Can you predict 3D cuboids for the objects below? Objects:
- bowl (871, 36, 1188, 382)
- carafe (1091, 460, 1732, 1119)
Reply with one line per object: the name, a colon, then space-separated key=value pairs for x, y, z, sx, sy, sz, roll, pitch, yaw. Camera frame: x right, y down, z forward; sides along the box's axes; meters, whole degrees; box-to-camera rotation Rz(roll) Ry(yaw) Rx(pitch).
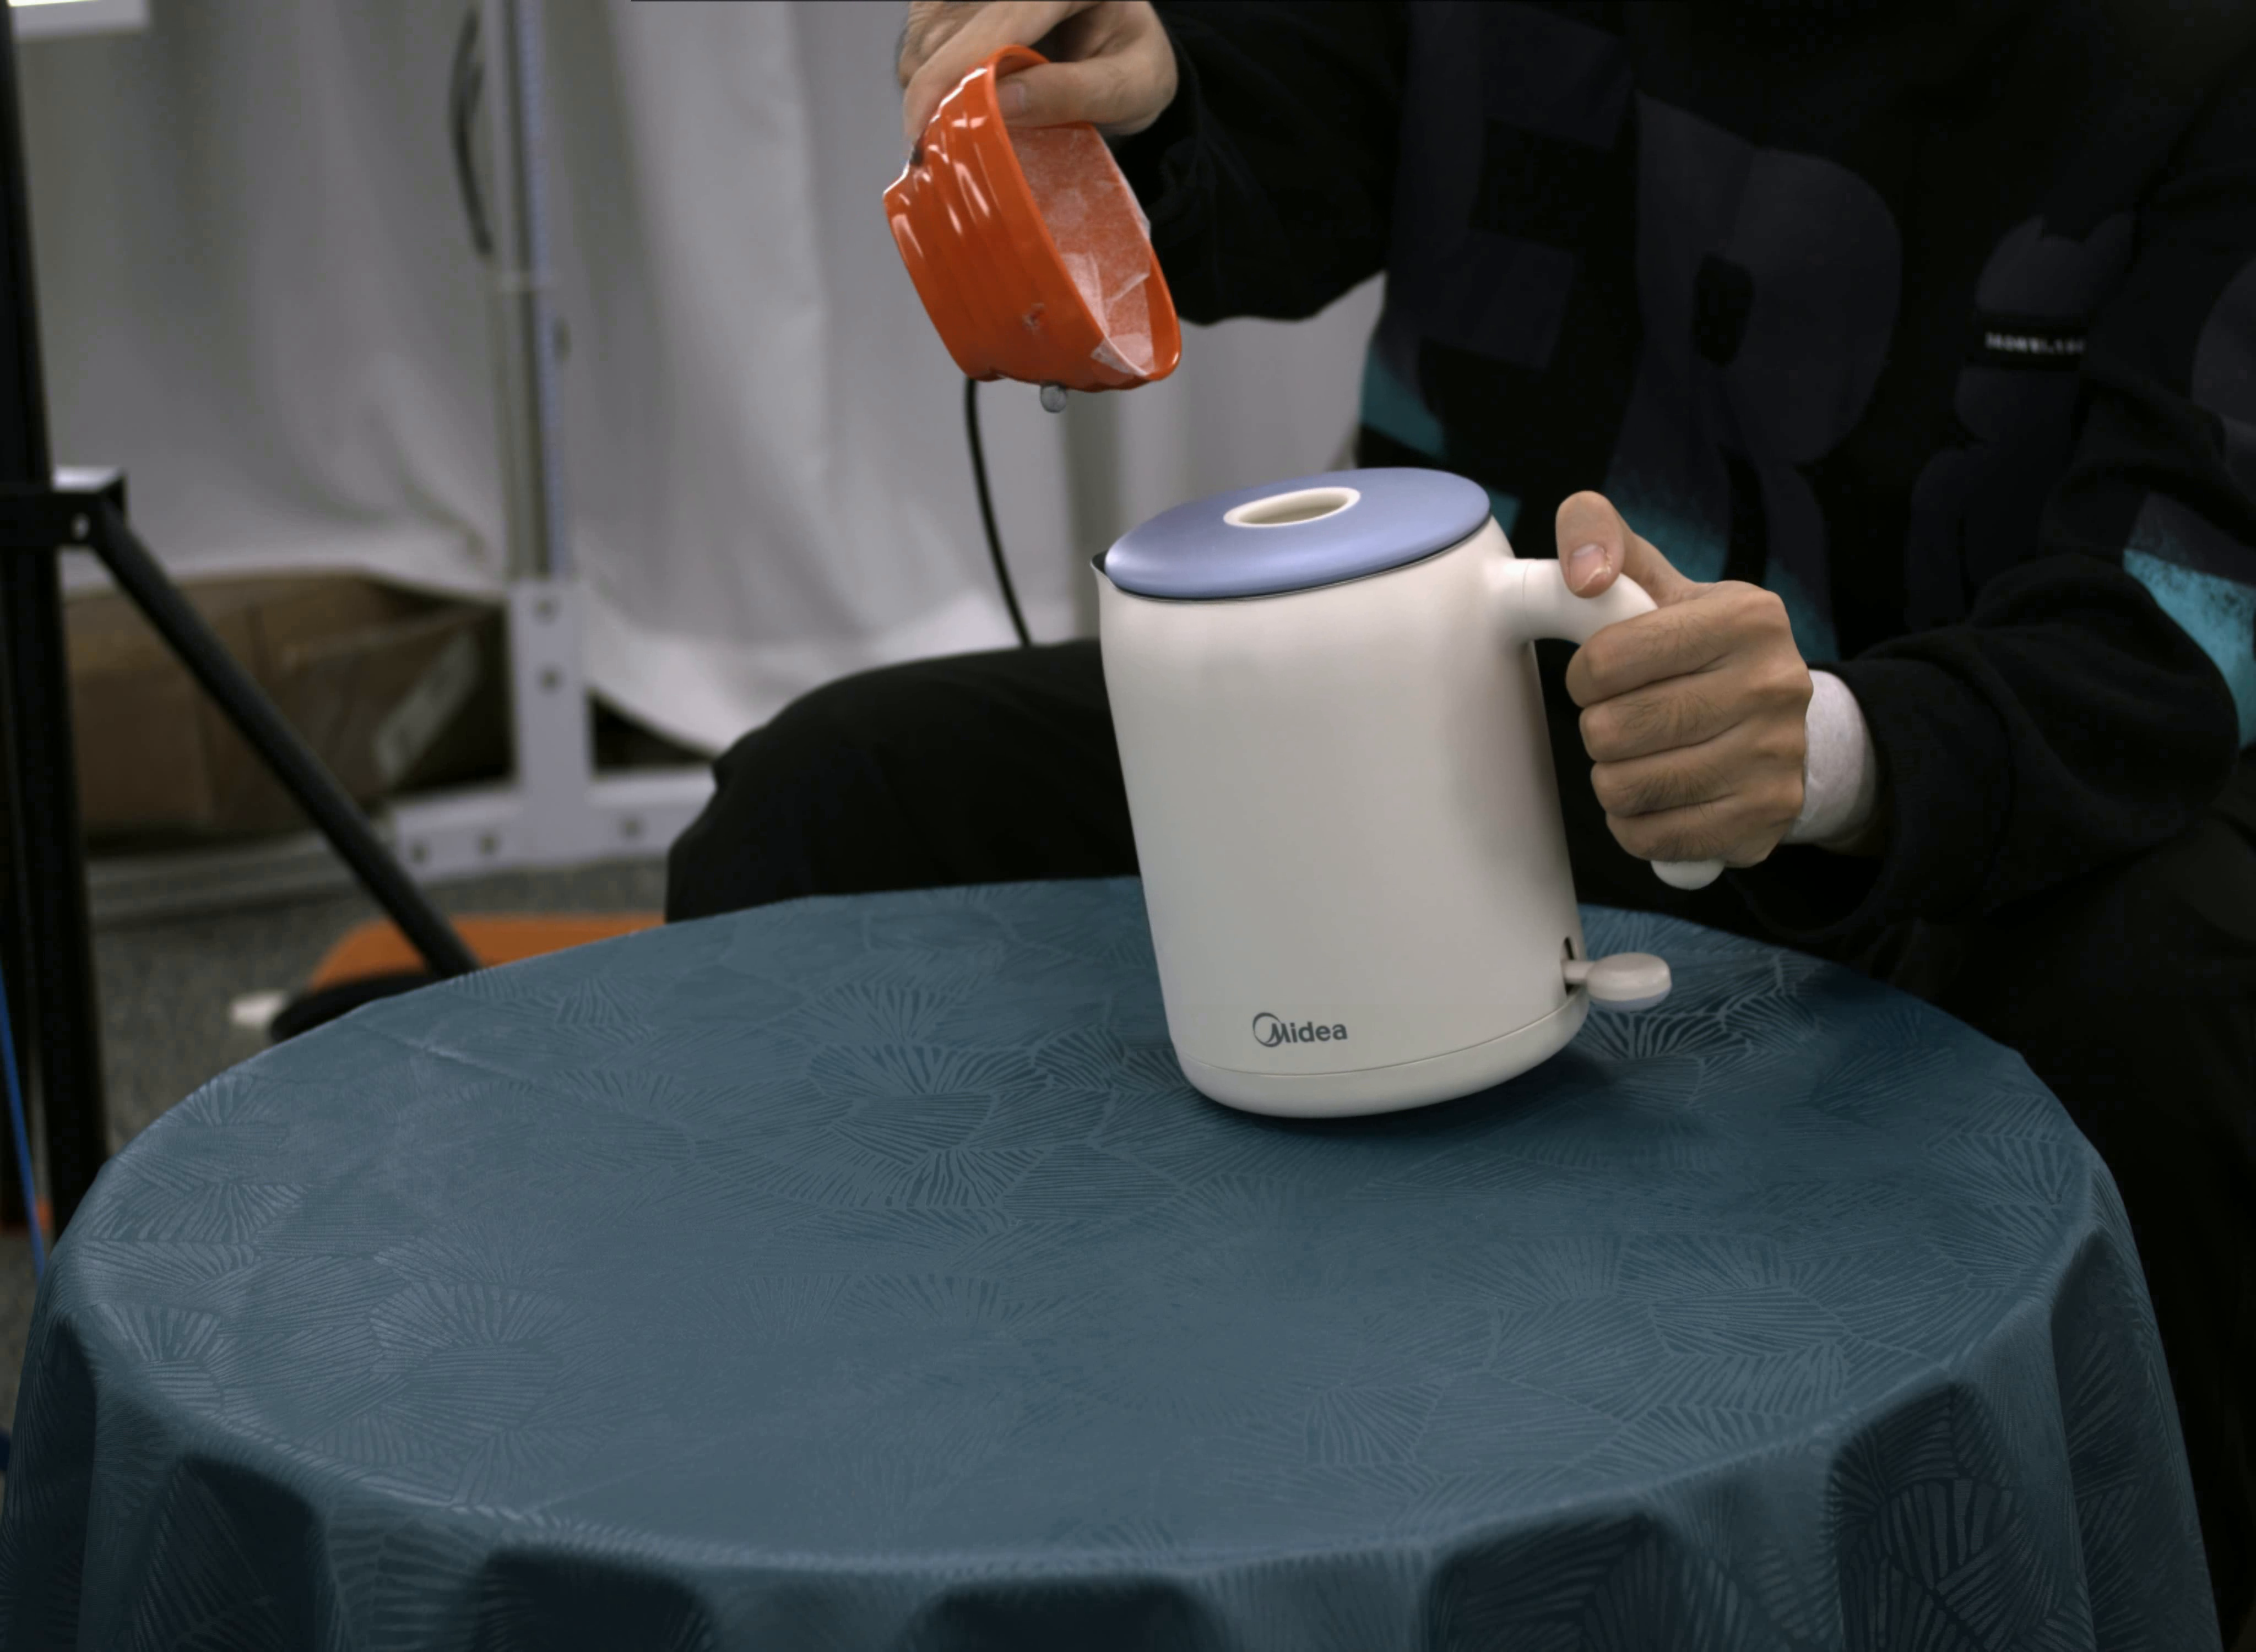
bowl: x=-0.034 y=-0.175 z=1.600 sx=0.052 sy=0.119 sz=0.118 roll=-30 pitch=6 yaw=21
carafe: x=0.088 y=-0.012 z=1.614 sx=0.194 sy=0.182 sz=0.131 roll=-1 pitch=19 yaw=24
